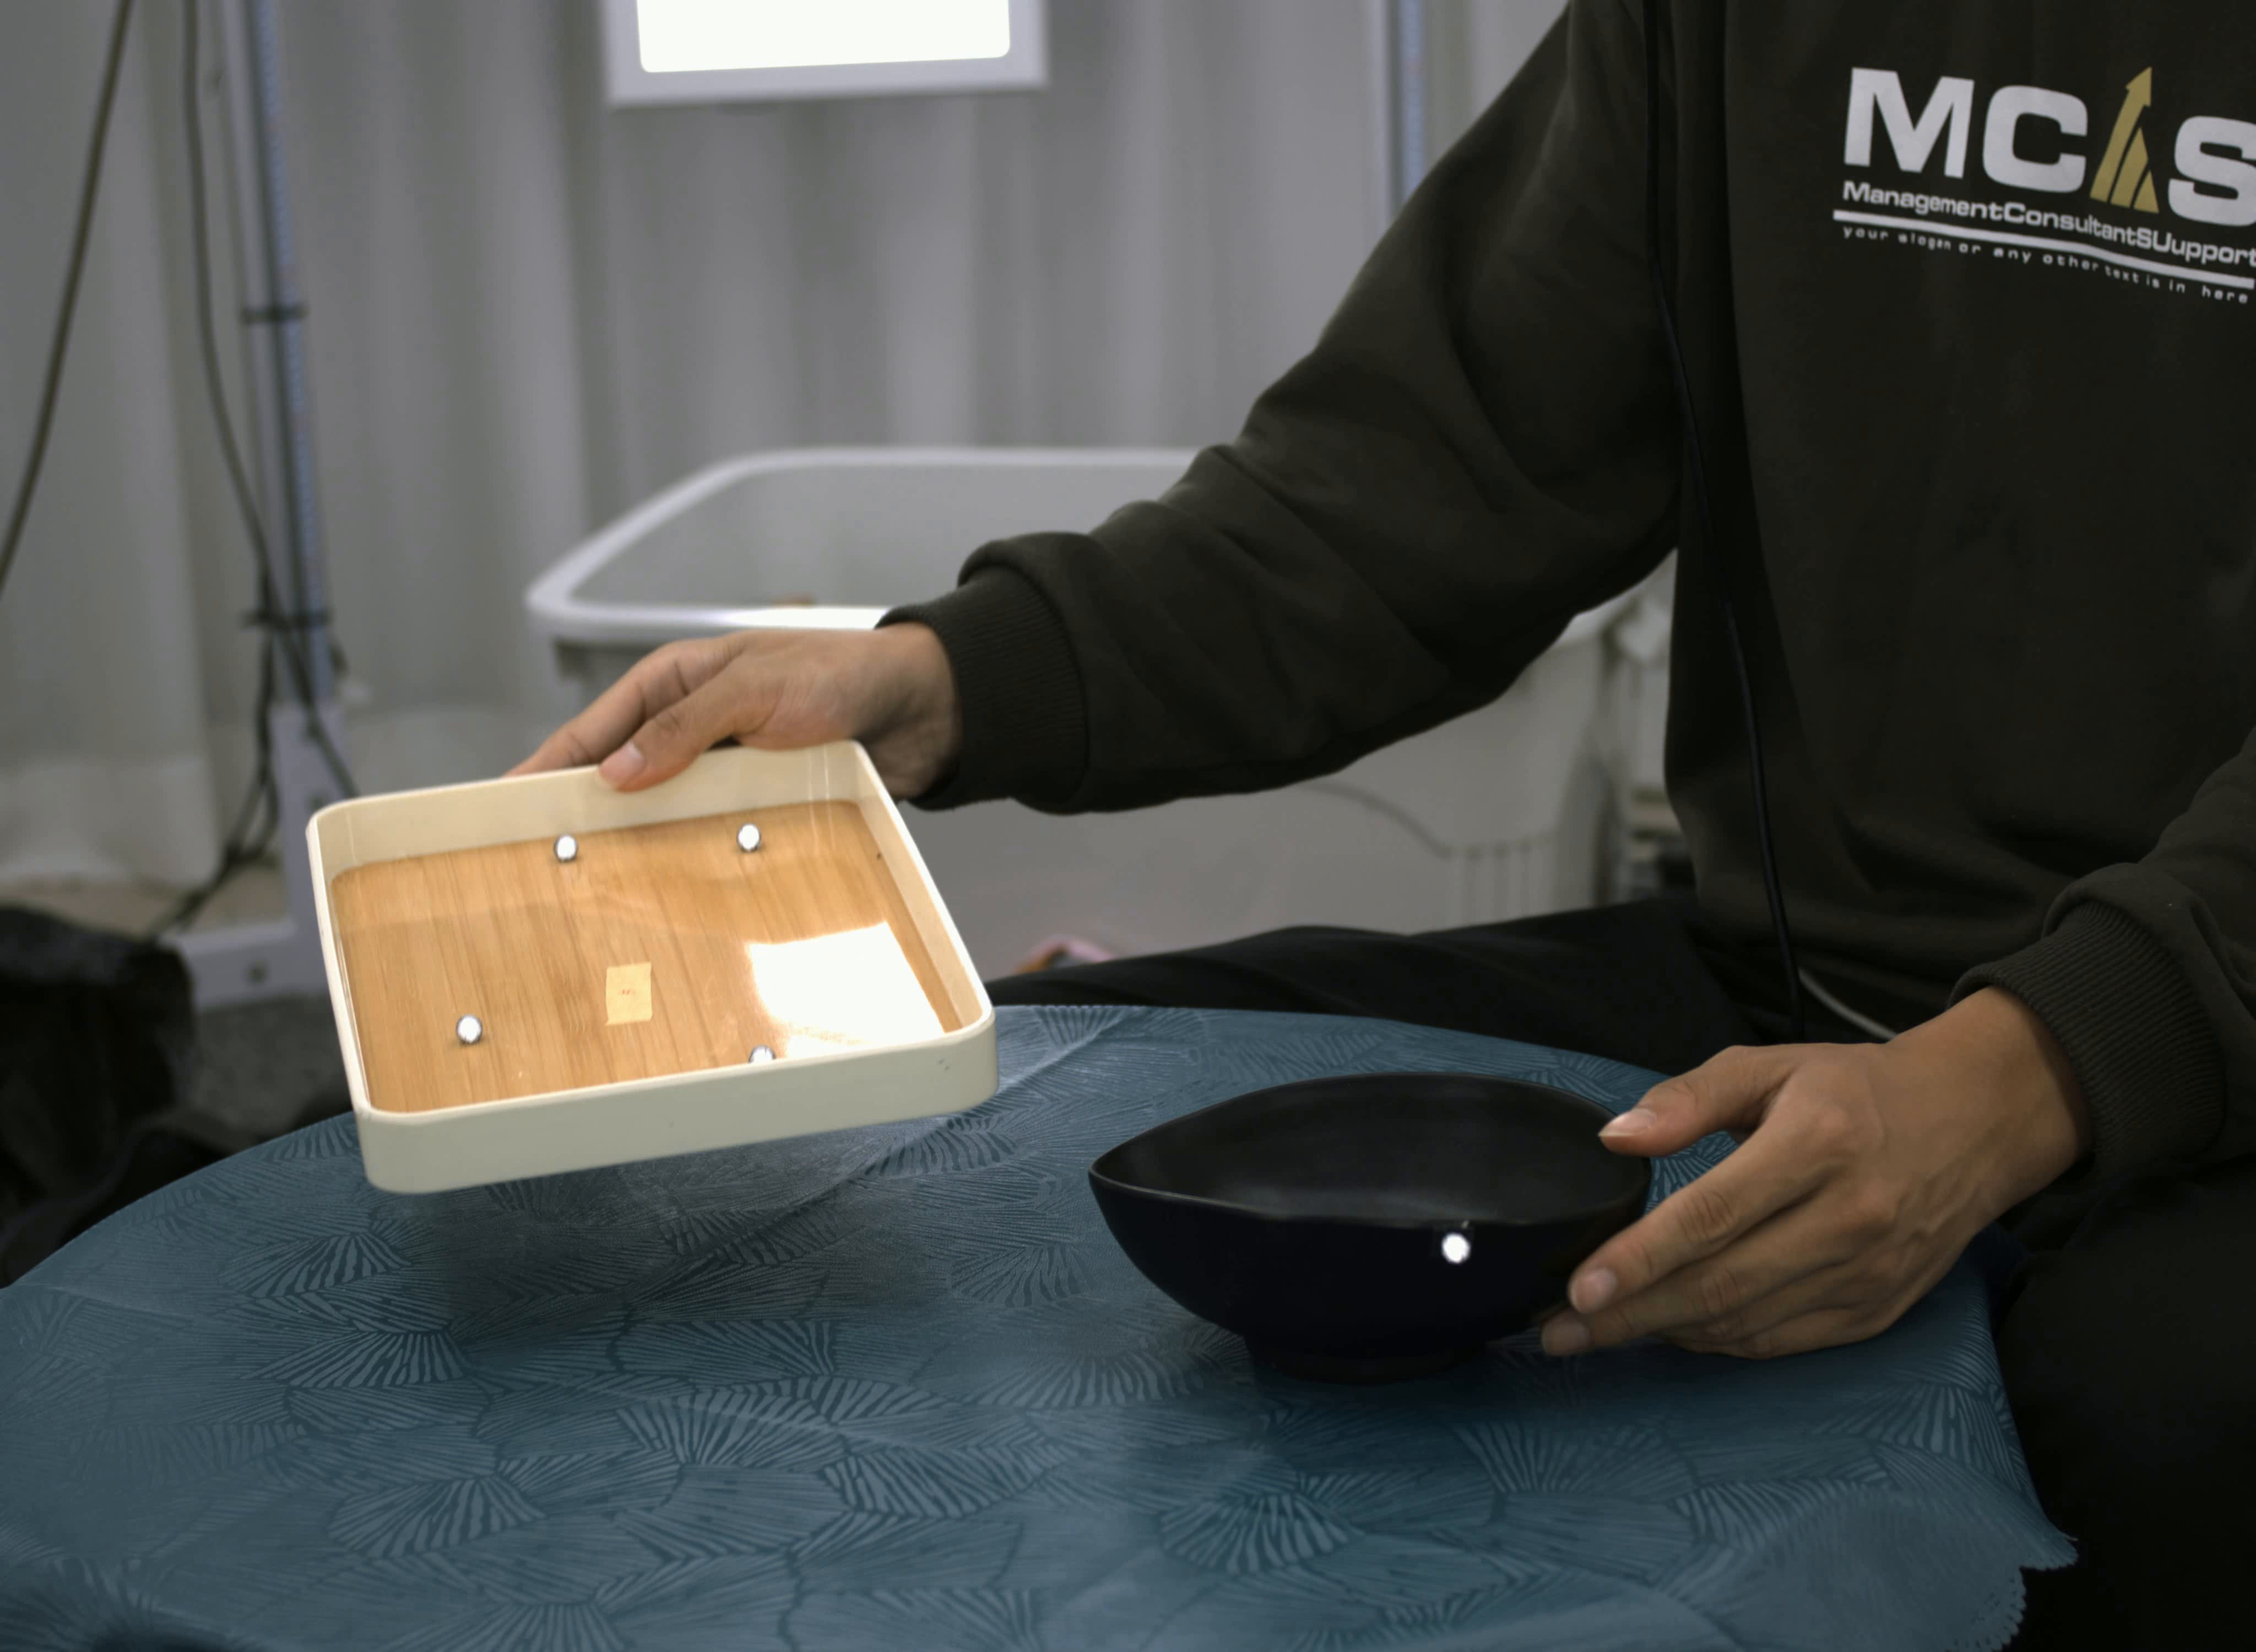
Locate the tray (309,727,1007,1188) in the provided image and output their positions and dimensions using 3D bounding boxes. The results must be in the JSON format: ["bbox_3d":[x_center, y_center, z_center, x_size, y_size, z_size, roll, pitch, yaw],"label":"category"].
[{"bbox_3d":[-0.154,0.036,1.726,0.191,0.027,0.303,-9,20,-9],"label":"tray"}]

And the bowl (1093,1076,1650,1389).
[{"bbox_3d":[0.068,0.121,1.566,0.170,0.066,0.137,4,15,30],"label":"bowl"}]
